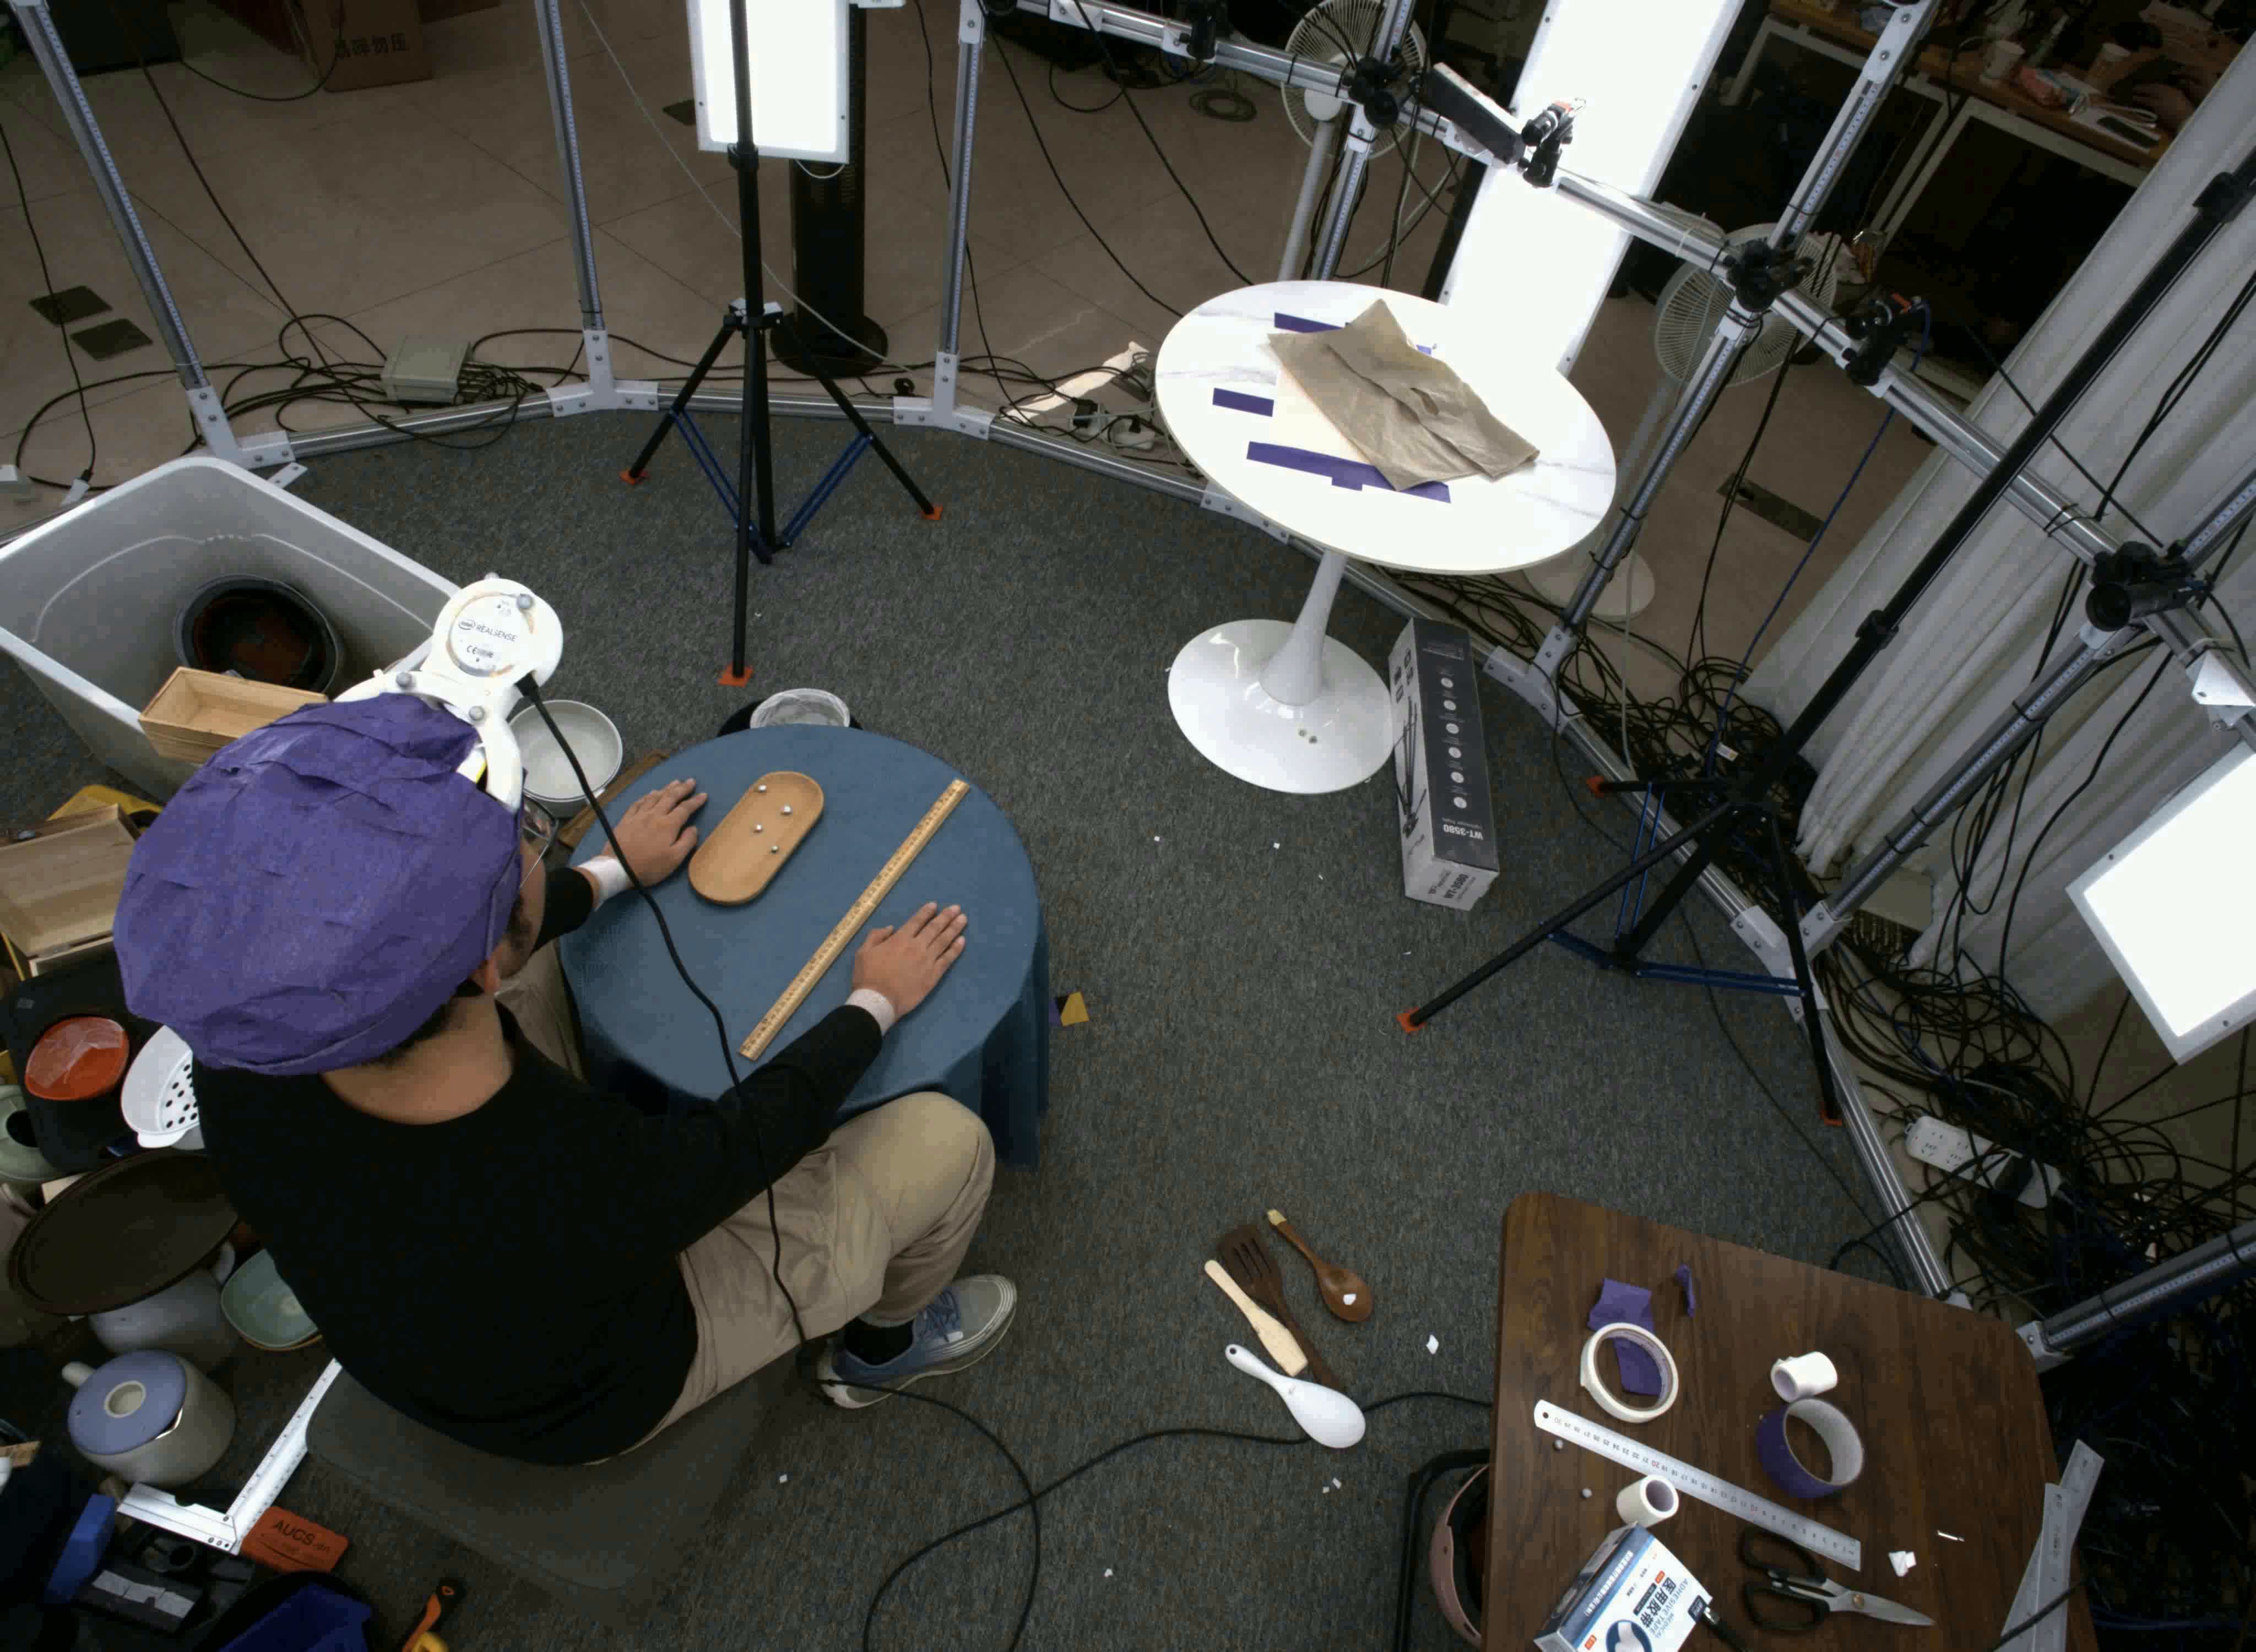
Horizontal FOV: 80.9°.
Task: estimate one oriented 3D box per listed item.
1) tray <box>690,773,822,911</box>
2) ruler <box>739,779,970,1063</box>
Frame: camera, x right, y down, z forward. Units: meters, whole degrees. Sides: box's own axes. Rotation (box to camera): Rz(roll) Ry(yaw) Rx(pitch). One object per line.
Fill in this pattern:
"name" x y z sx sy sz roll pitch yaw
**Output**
"tray" -0.481 0.017 1.681 0.100 0.021 0.229 22 53 5
"ruler" -0.338 0.103 1.661 0.026 0.006 0.498 27 52 8
